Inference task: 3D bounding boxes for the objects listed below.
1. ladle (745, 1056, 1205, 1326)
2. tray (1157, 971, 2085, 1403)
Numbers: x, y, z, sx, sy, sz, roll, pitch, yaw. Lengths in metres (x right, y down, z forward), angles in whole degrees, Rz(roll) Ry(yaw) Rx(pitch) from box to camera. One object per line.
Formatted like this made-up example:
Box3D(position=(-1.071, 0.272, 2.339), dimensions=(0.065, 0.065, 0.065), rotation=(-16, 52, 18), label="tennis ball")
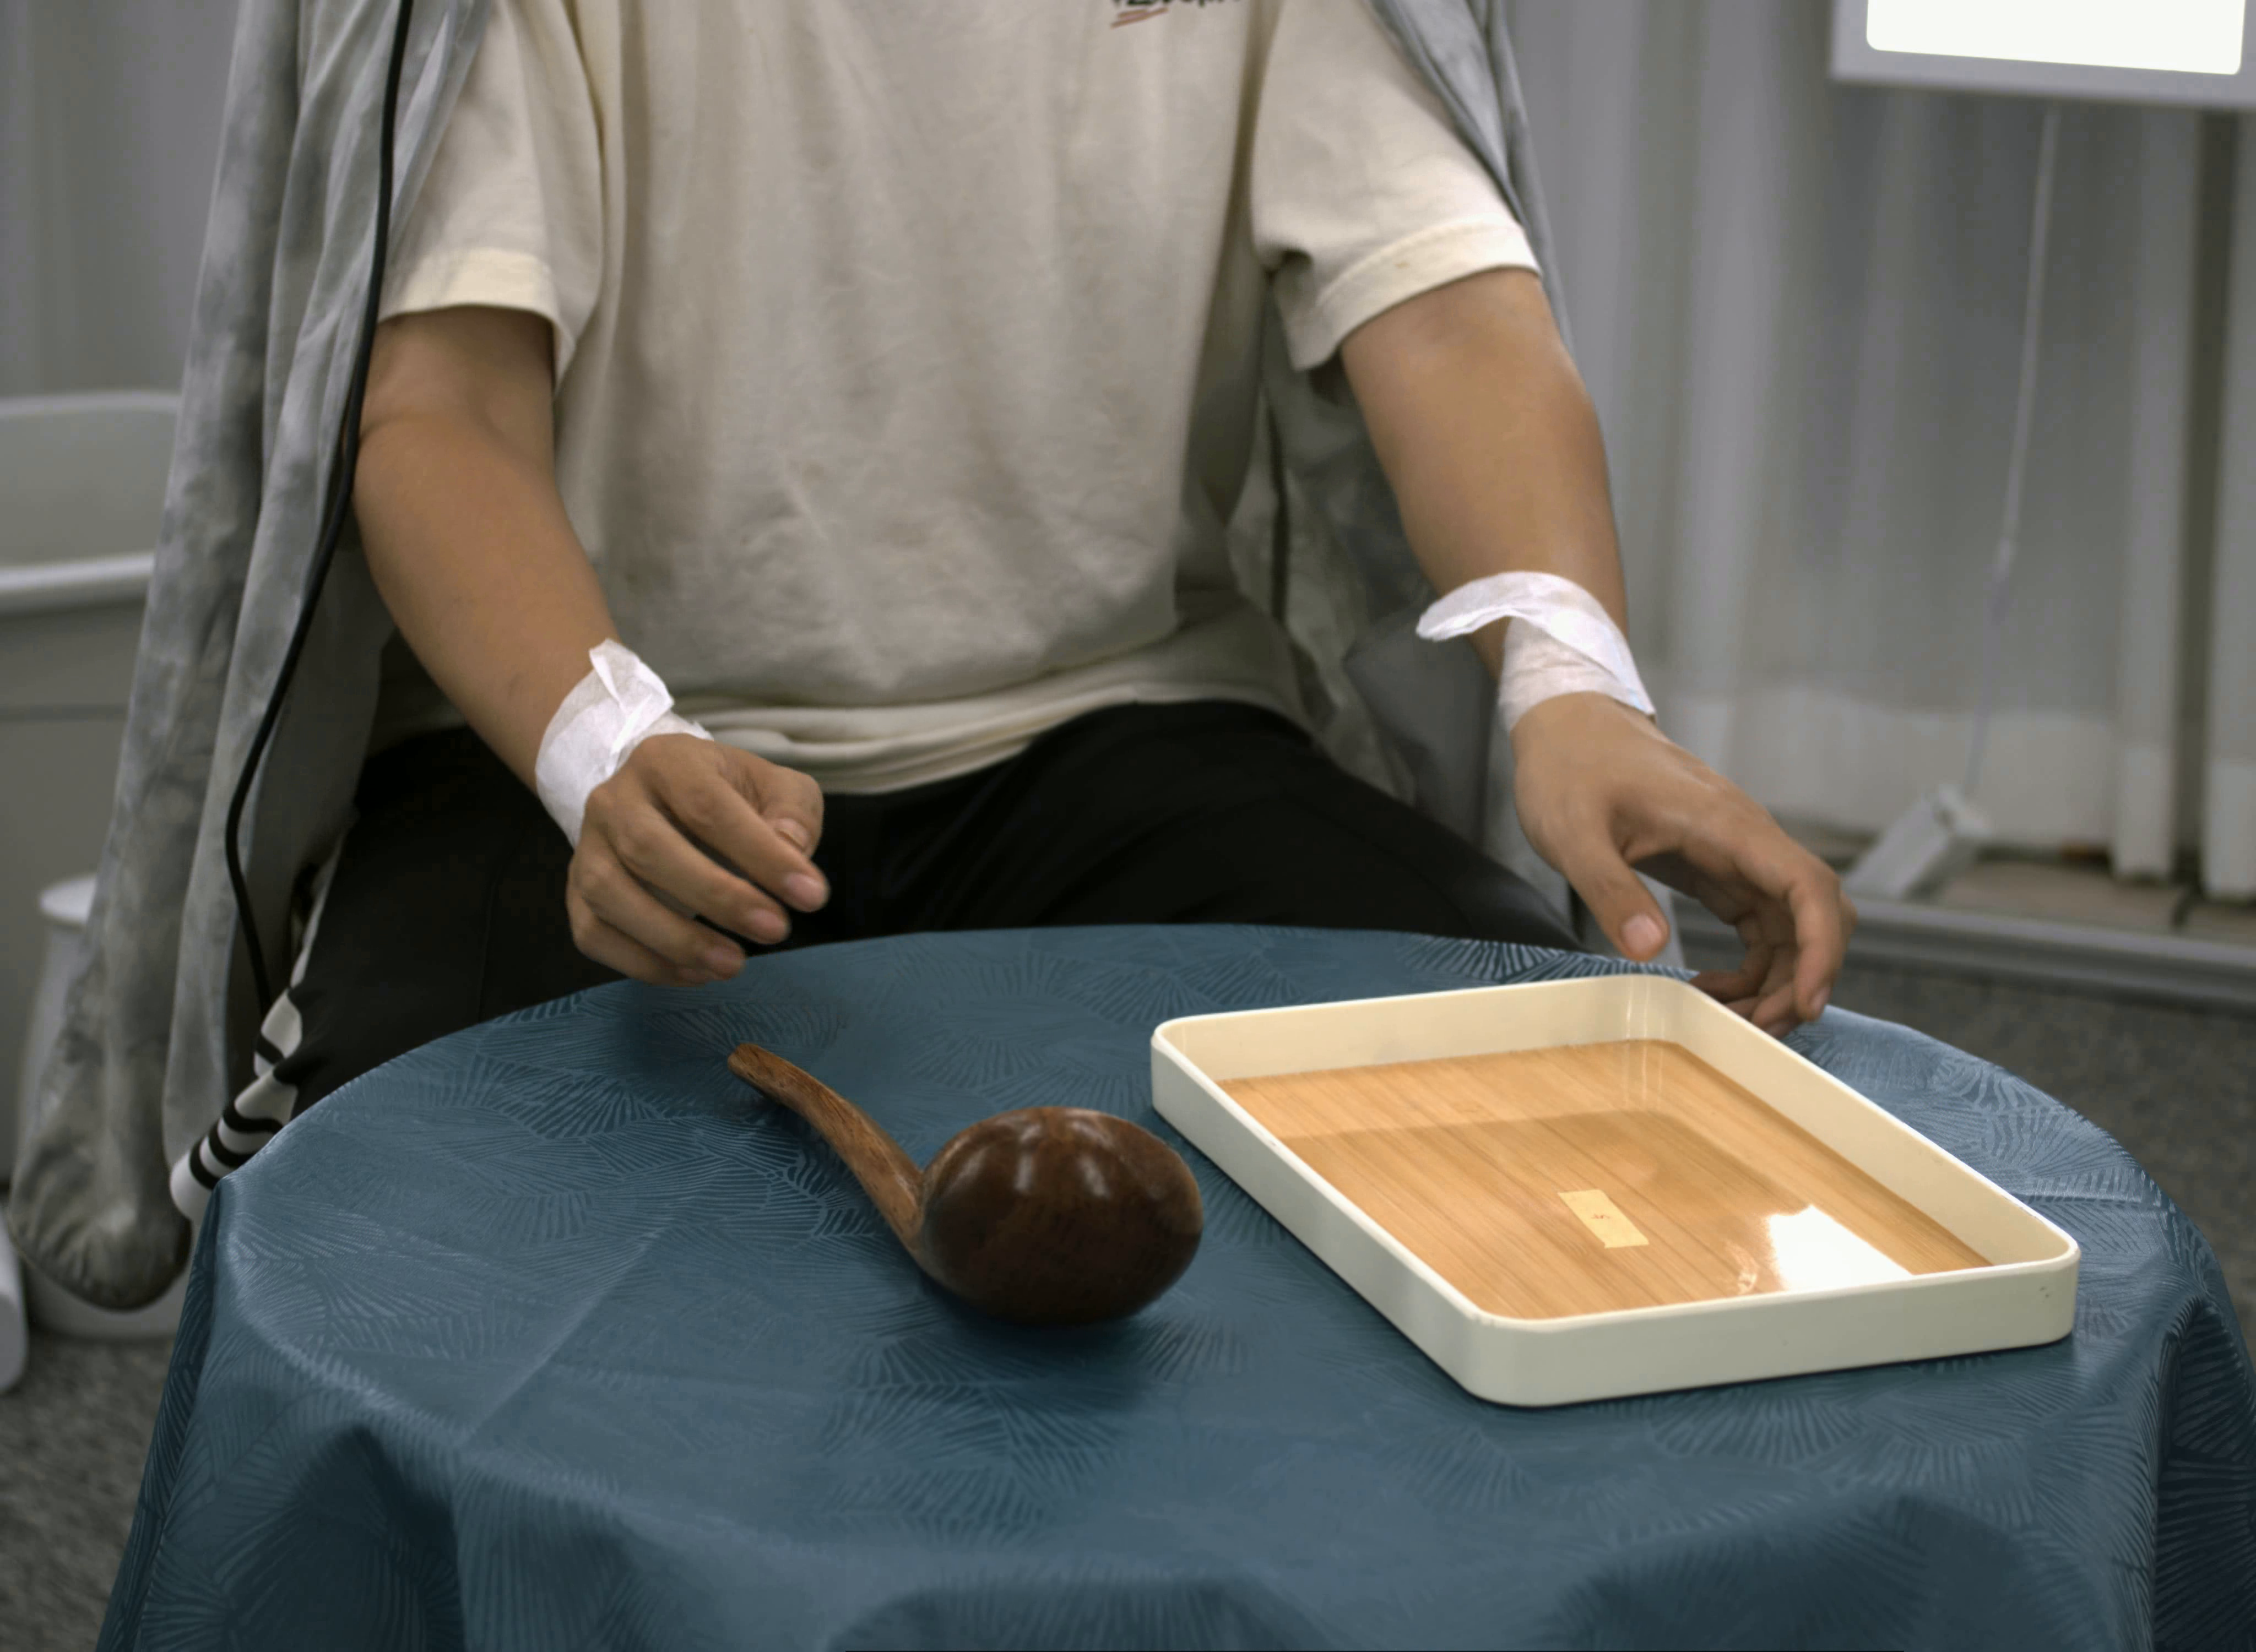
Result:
Box3D(position=(-0.056, 0.086, 1.586), dimensions=(0.083, 0.076, 0.271), rotation=(36, 0, -24), label="ladle")
Box3D(position=(0.142, 0.105, 1.607), dimensions=(0.192, 0.027, 0.297), rotation=(-5, 16, -18), label="tray")
